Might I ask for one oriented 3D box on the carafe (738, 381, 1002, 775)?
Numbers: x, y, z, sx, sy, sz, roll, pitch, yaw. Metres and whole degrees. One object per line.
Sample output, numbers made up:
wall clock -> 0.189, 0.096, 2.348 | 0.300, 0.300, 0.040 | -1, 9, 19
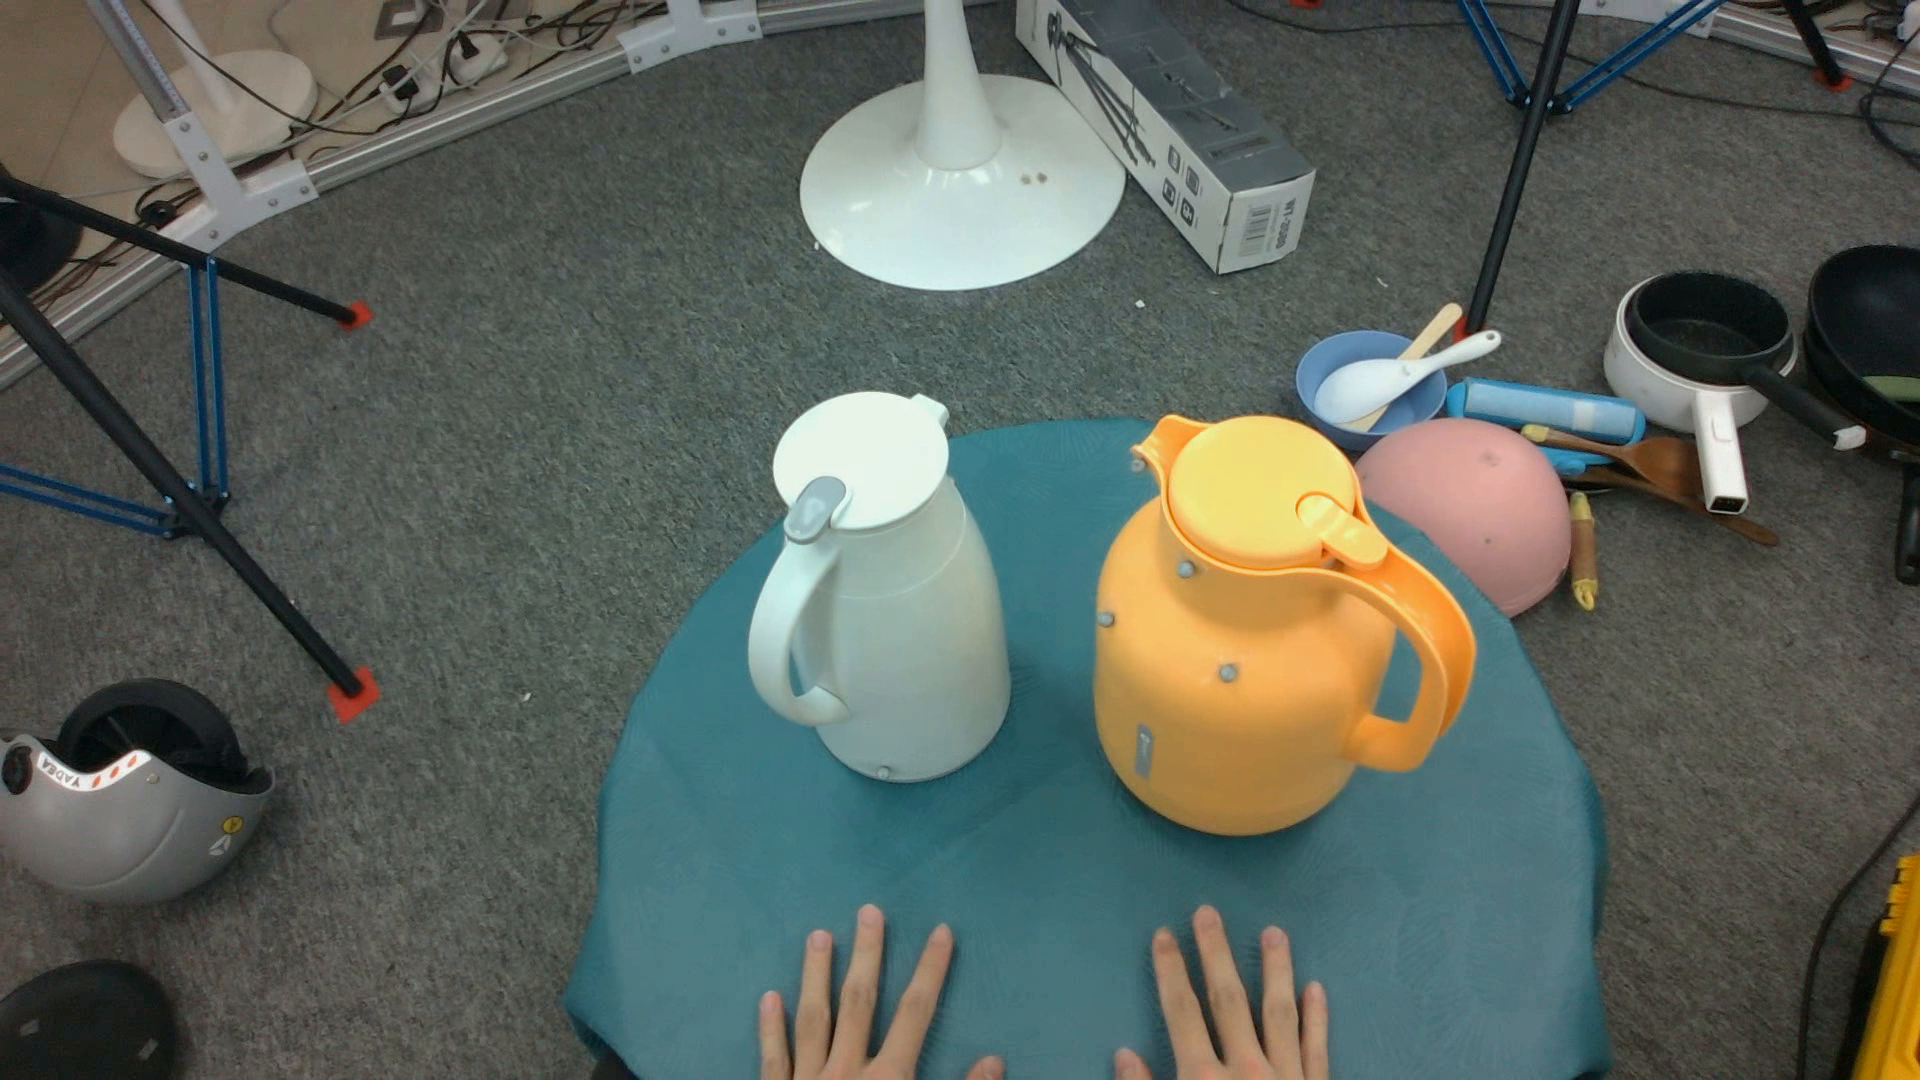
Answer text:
carafe -> -0.058, 0.035, 0.790 | 0.132, 0.247, 0.168 | 26, 60, 22

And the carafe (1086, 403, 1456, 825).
carafe -> 0.163, 0.050, 0.753 | 0.202, 0.259, 0.164 | 36, 66, 28
